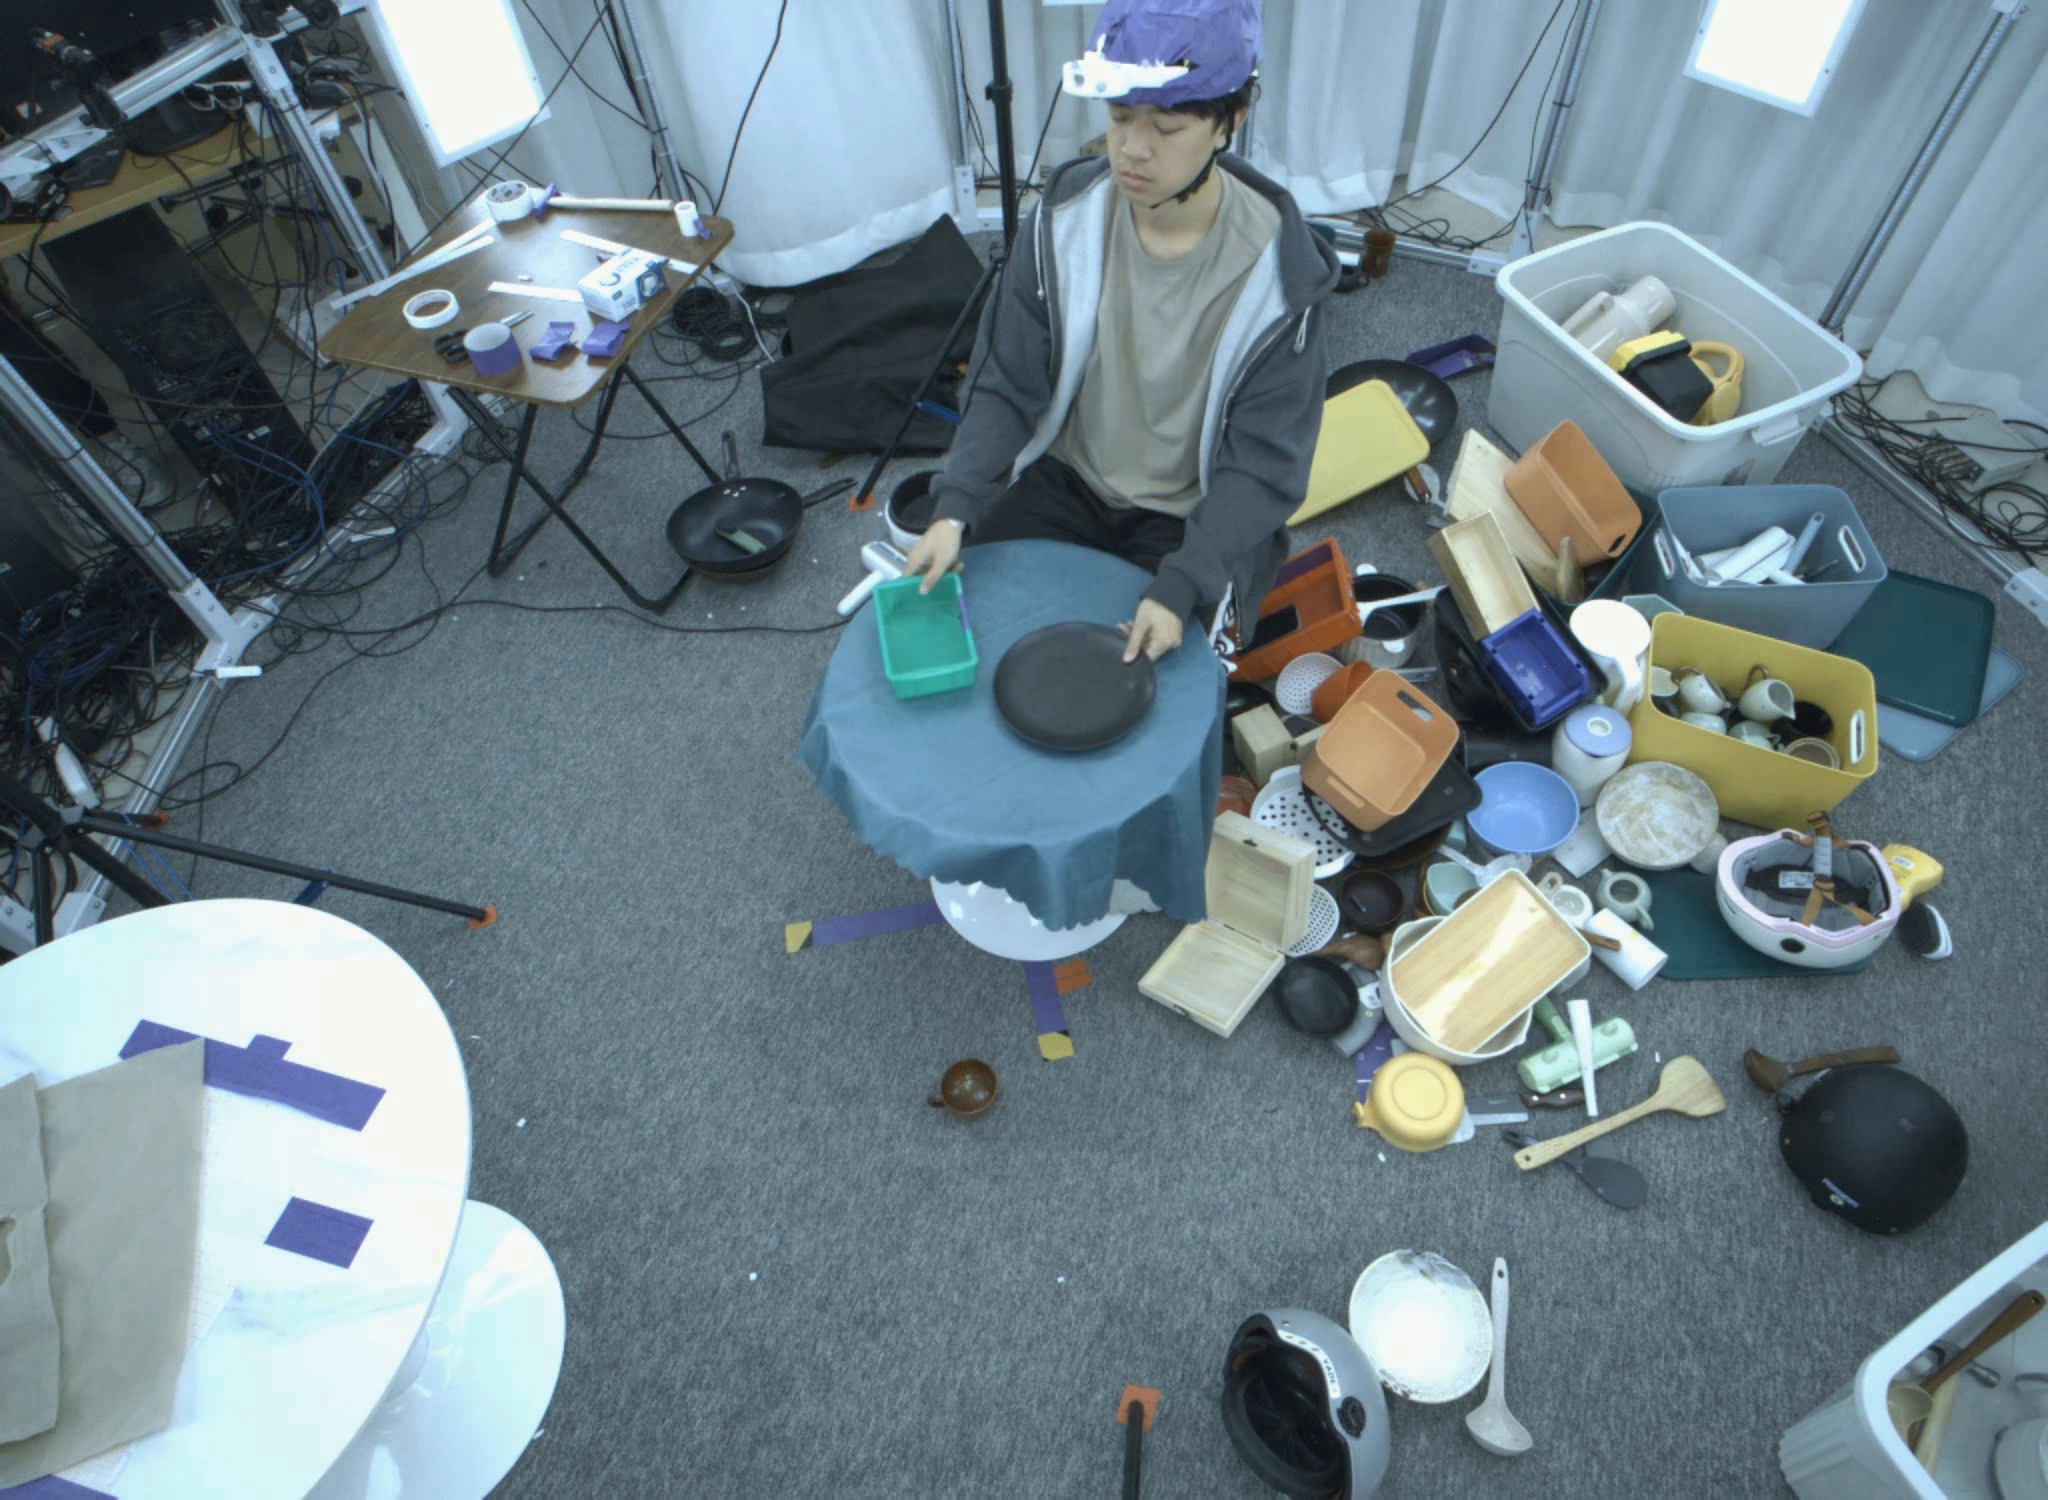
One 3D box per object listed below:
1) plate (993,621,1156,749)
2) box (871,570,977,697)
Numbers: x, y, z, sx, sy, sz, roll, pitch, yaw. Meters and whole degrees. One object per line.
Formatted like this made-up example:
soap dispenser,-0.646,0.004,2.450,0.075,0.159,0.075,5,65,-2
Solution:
plate,0.076,-0.095,1.839,0.244,0.024,0.242,-1,55,3
box,-0.153,-0.177,1.882,0.139,0.066,0.207,-10,53,-7
